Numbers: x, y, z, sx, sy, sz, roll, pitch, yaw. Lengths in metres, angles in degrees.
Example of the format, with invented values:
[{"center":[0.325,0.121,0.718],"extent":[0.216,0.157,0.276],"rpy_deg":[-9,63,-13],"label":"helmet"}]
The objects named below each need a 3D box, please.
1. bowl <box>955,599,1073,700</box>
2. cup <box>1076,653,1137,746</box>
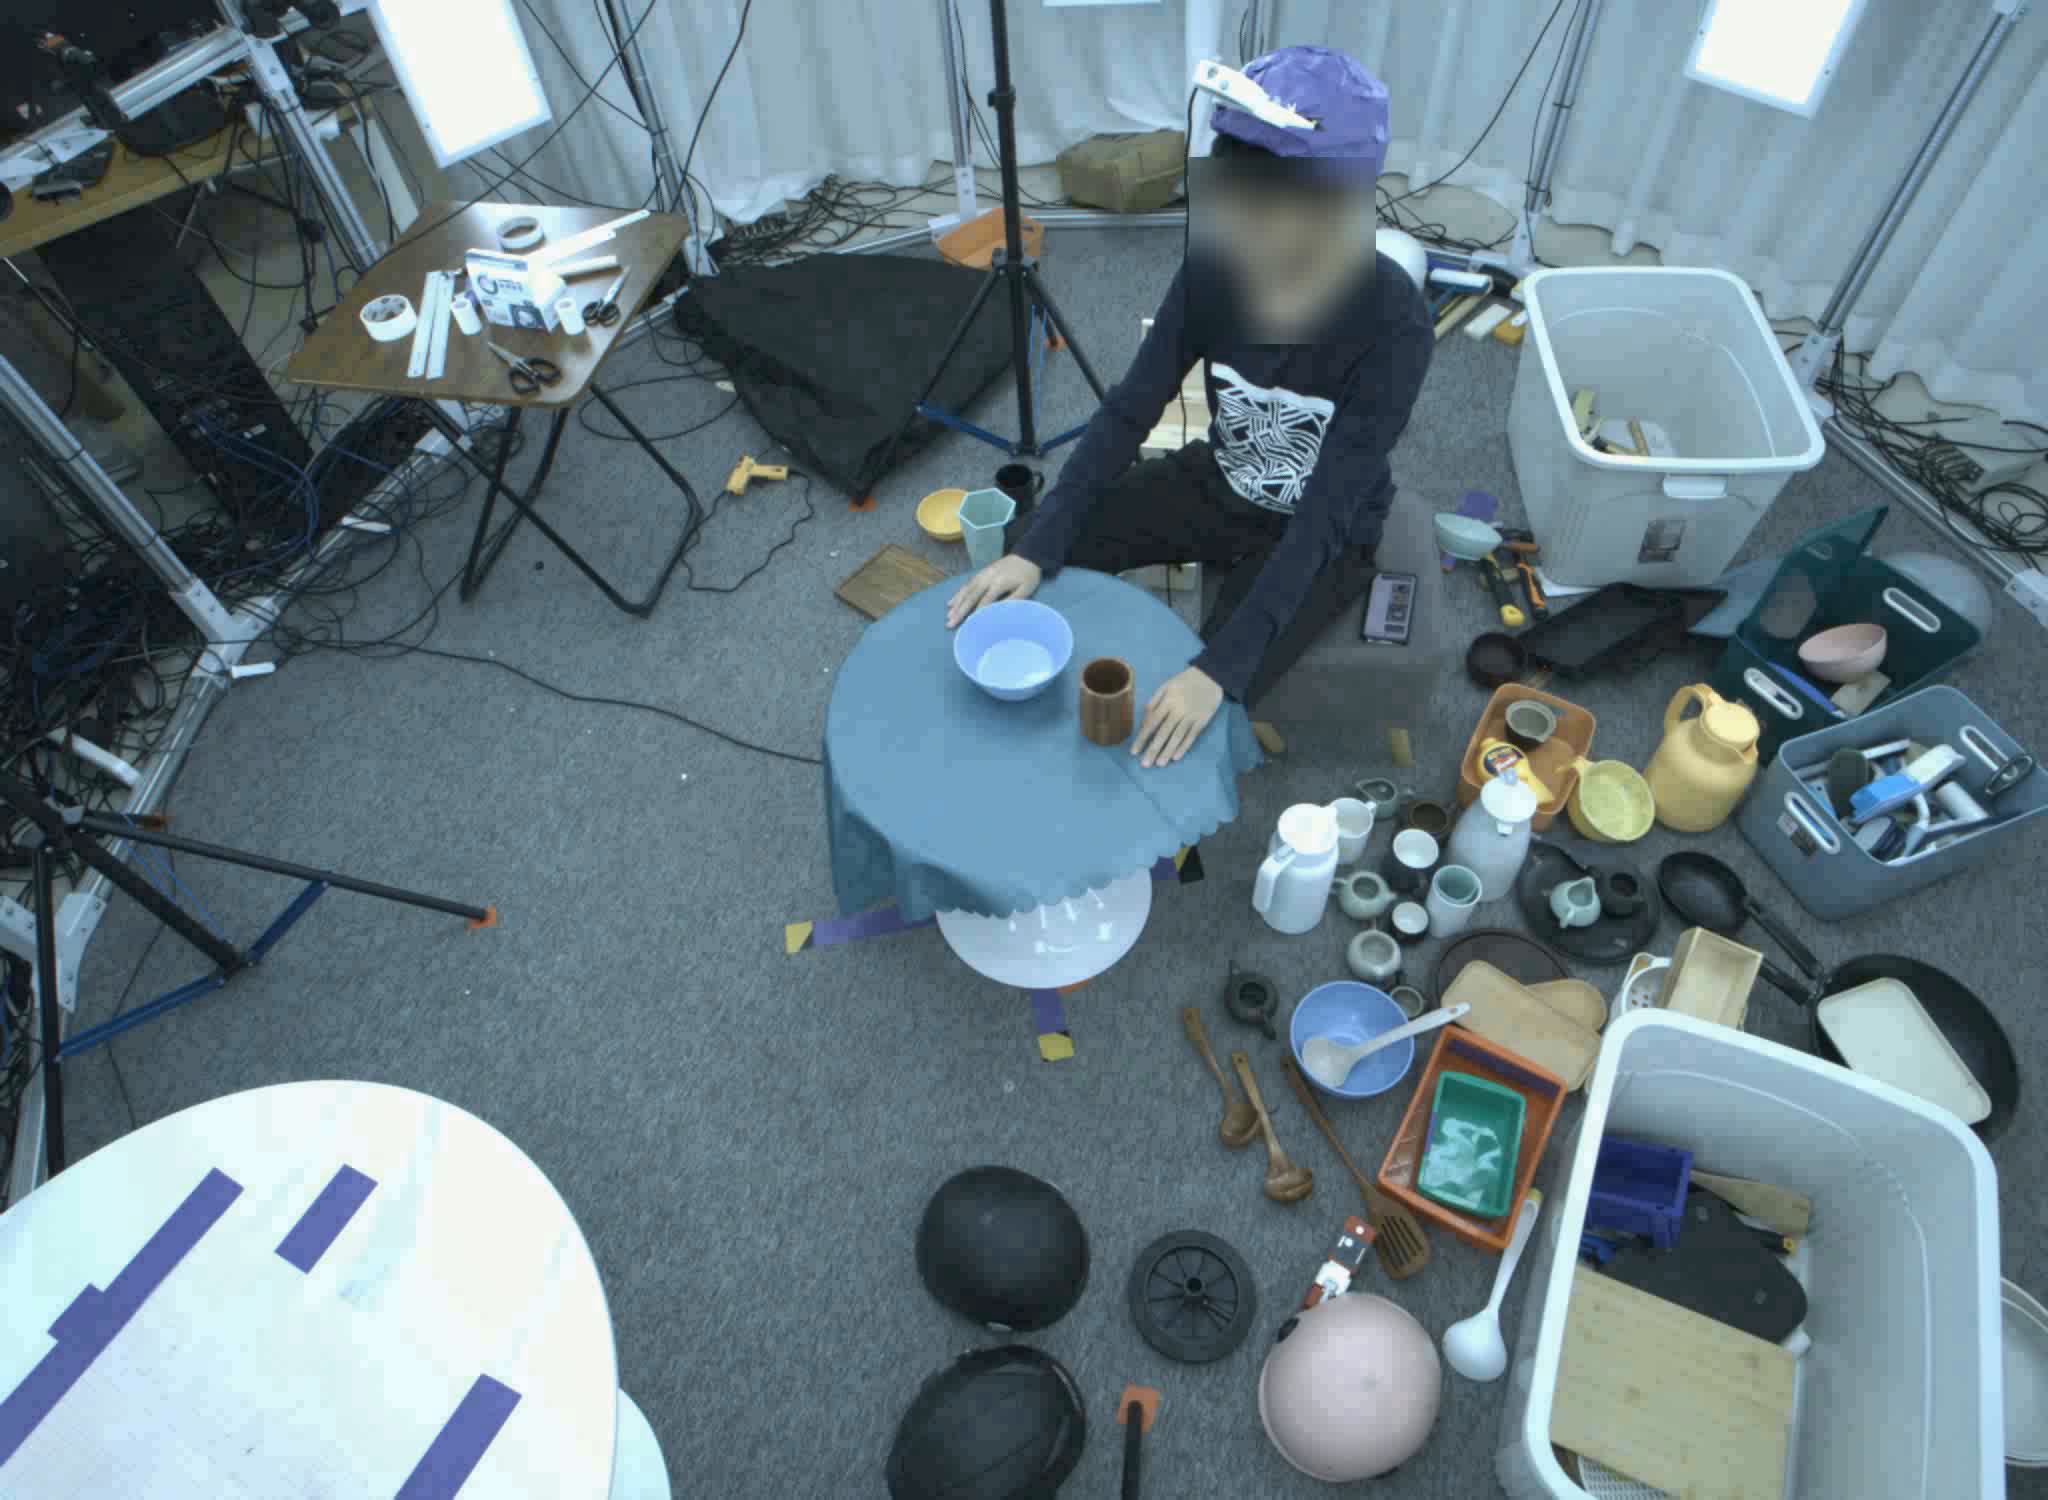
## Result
[{"center":[-0.014,-0.140,1.837],"extent":[0.176,0.071,0.174],"rpy_deg":[0,54,1],"label":"bowl"},{"center":[0.116,-0.072,1.755],"extent":[0.088,0.119,0.087],"rpy_deg":[0,53,1],"label":"cup"}]
